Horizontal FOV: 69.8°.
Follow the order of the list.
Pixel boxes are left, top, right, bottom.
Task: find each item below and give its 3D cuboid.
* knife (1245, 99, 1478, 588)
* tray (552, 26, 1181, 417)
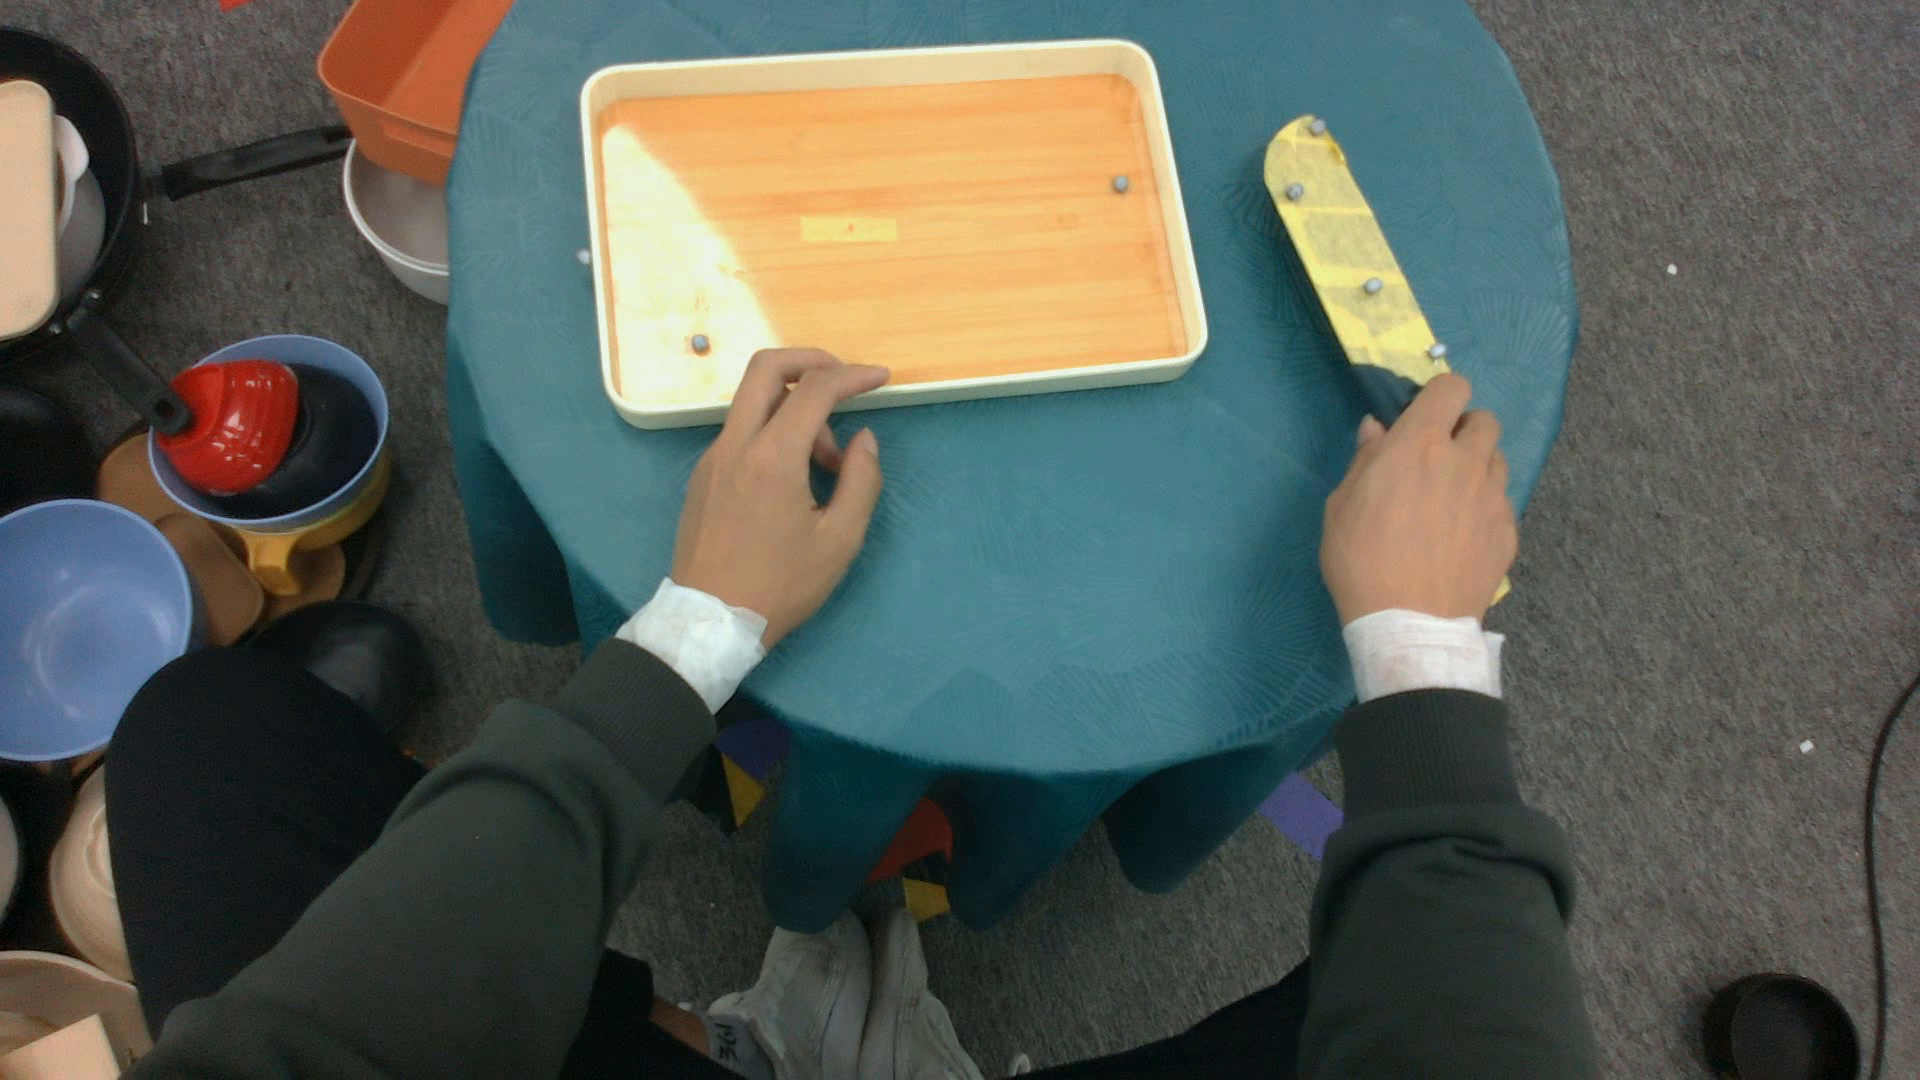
[{"bbox_3d":[0.208,-0.110,0.710,0.081,0.027,0.290,-1,66,-38],"label":"knife"},{"bbox_3d":[-0.047,-0.167,0.705,0.300,0.027,0.192,-6,75,-10],"label":"tray"}]
